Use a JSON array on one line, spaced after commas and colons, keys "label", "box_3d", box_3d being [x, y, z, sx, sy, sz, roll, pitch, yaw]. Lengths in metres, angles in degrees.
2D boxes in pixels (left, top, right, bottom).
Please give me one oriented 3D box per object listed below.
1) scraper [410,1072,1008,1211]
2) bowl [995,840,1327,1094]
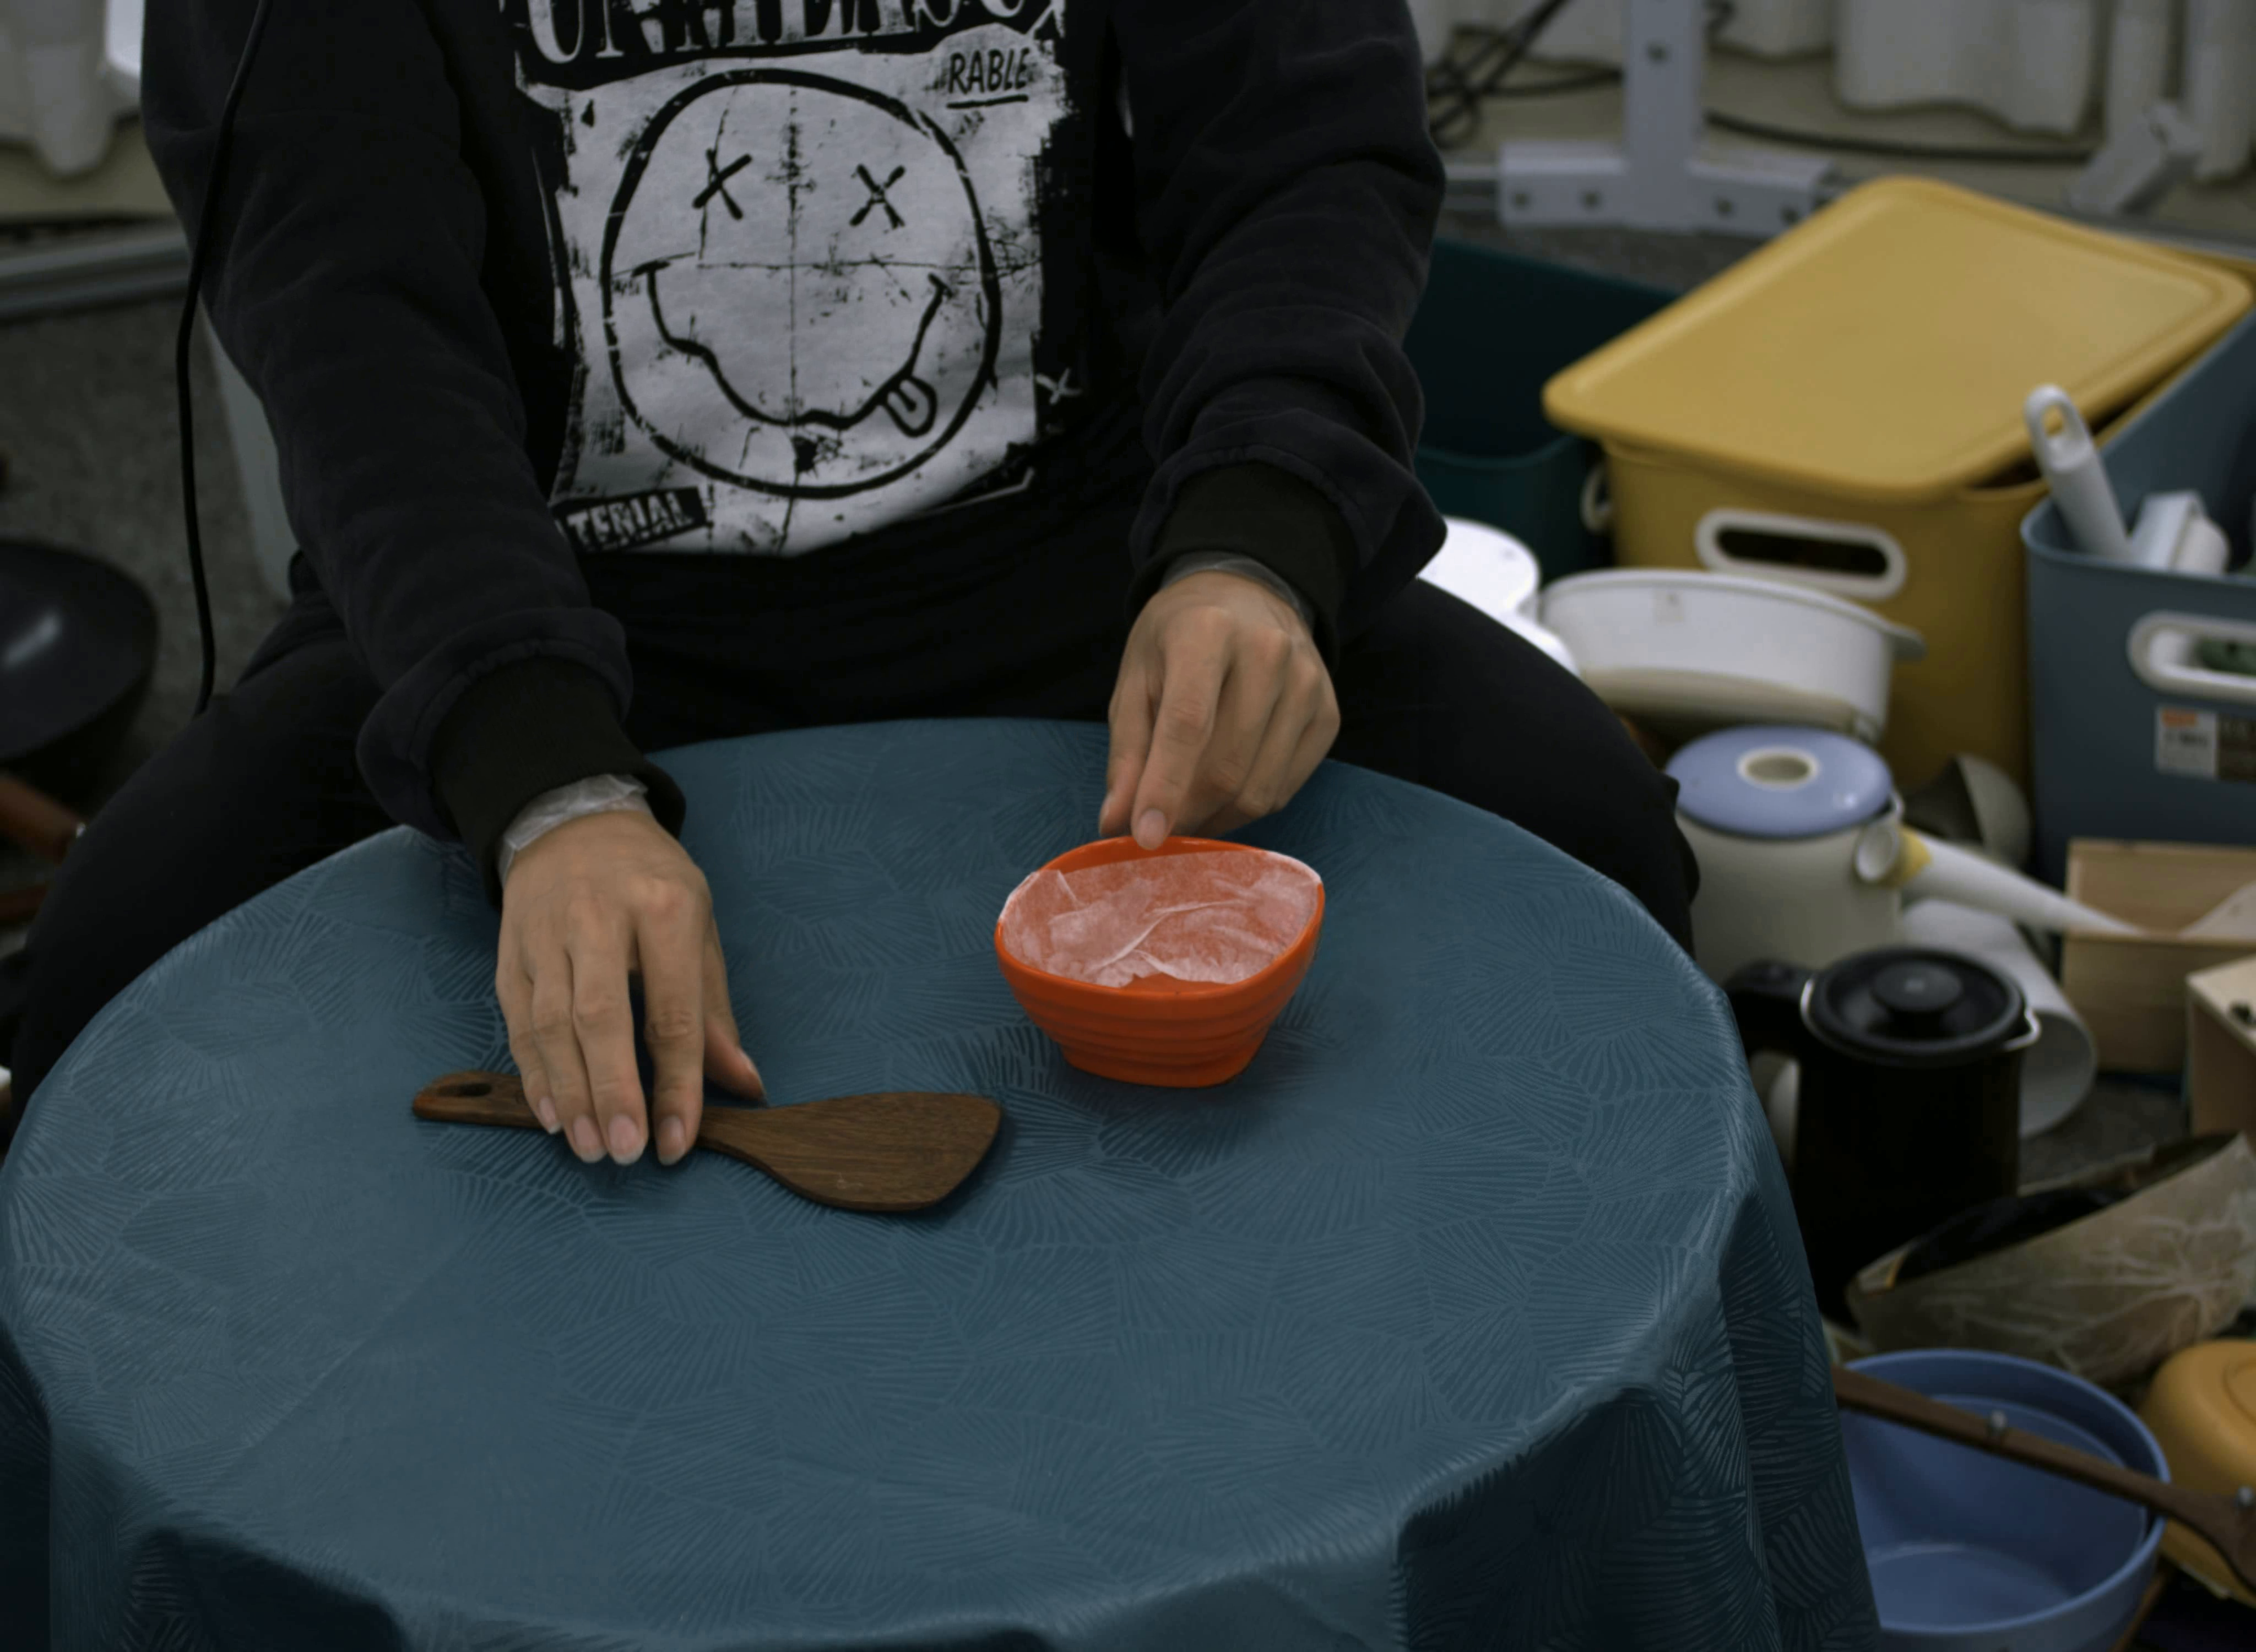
[{"label": "scraper", "box_3d": [-0.145, 0.102, 1.904, 0.210, 0.011, 0.077, 6, 27, 18]}, {"label": "bowl", "box_3d": [0.013, 0.053, 1.941, 0.118, 0.051, 0.121, -3, 28, 2]}]
